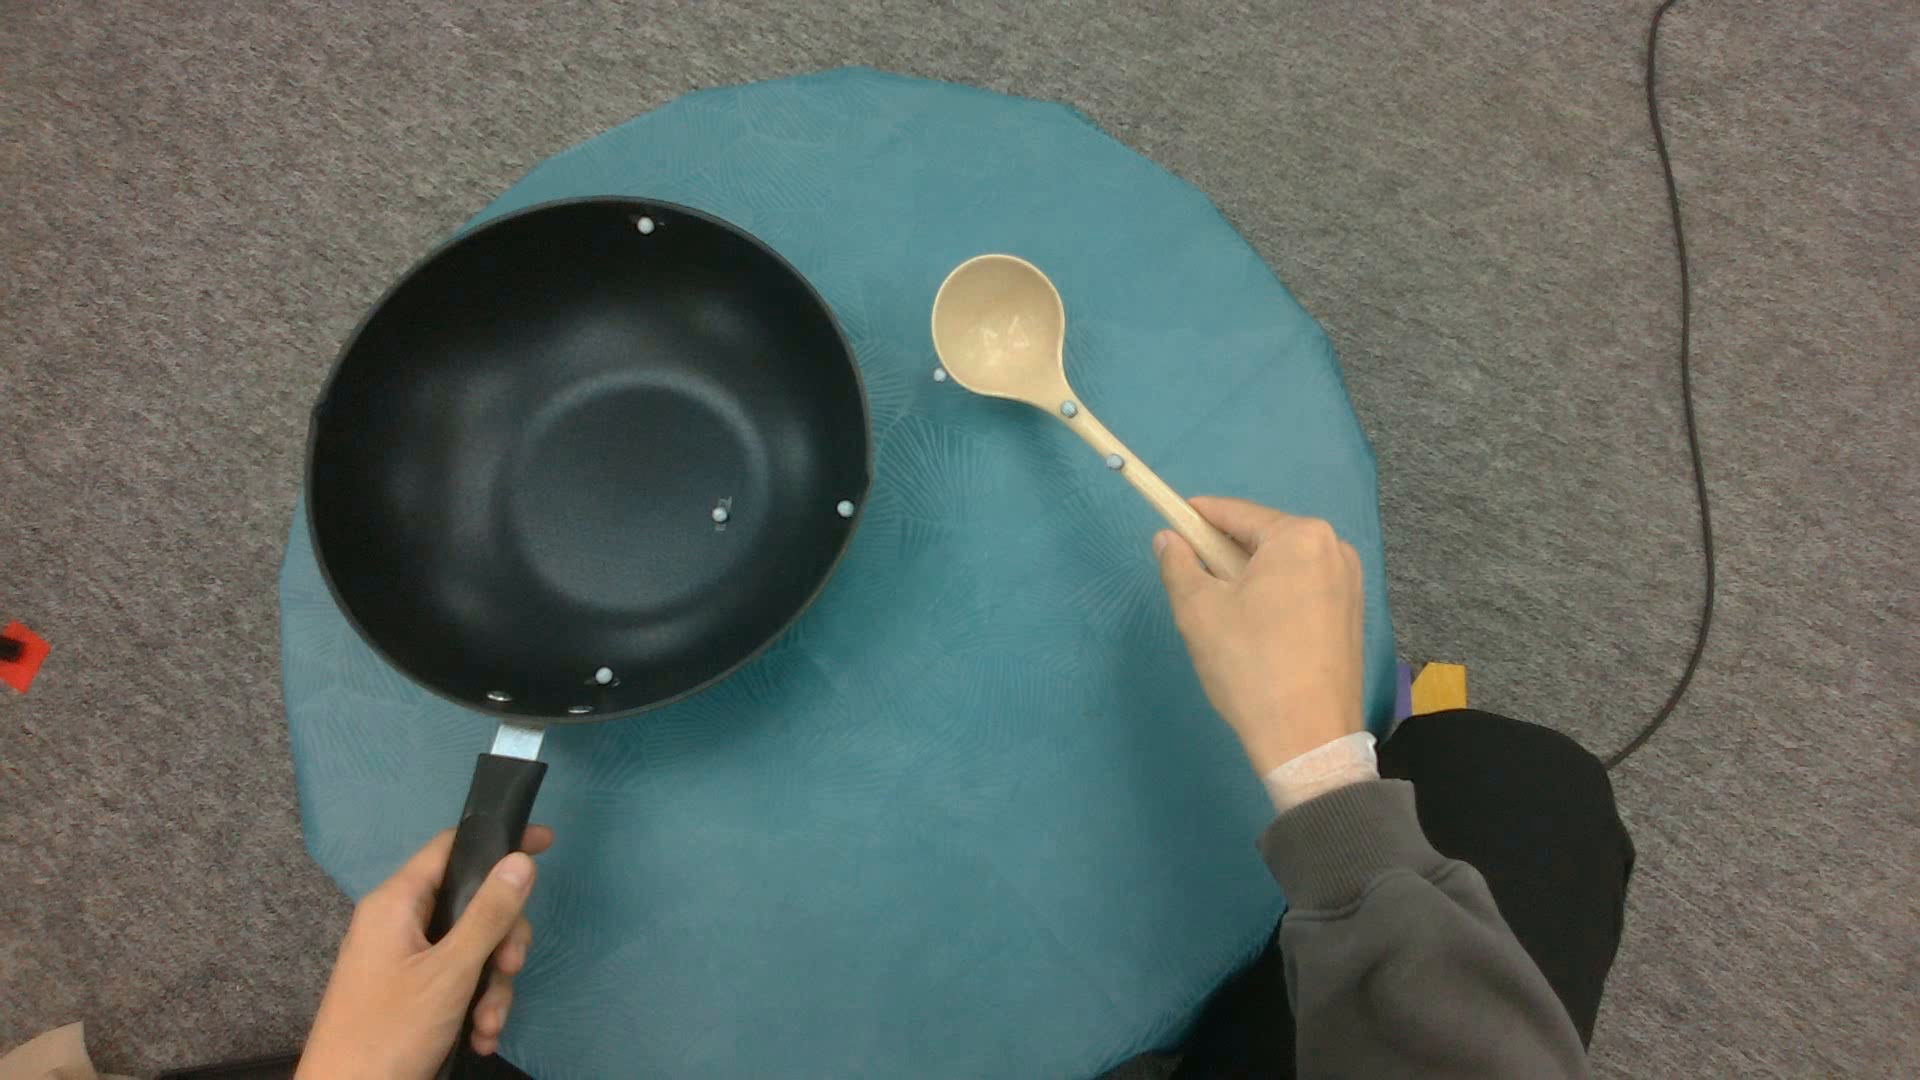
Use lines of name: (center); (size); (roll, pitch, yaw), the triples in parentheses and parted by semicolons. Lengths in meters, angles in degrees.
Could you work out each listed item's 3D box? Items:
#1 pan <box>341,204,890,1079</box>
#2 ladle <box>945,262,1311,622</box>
pan: (-0.191, 0.052, 0.712); (0.288, 0.086, 0.464); (9, 75, 6)
ladle: (0.078, -0.056, 0.677); (0.072, 0.072, 0.255); (-38, 50, -5)
